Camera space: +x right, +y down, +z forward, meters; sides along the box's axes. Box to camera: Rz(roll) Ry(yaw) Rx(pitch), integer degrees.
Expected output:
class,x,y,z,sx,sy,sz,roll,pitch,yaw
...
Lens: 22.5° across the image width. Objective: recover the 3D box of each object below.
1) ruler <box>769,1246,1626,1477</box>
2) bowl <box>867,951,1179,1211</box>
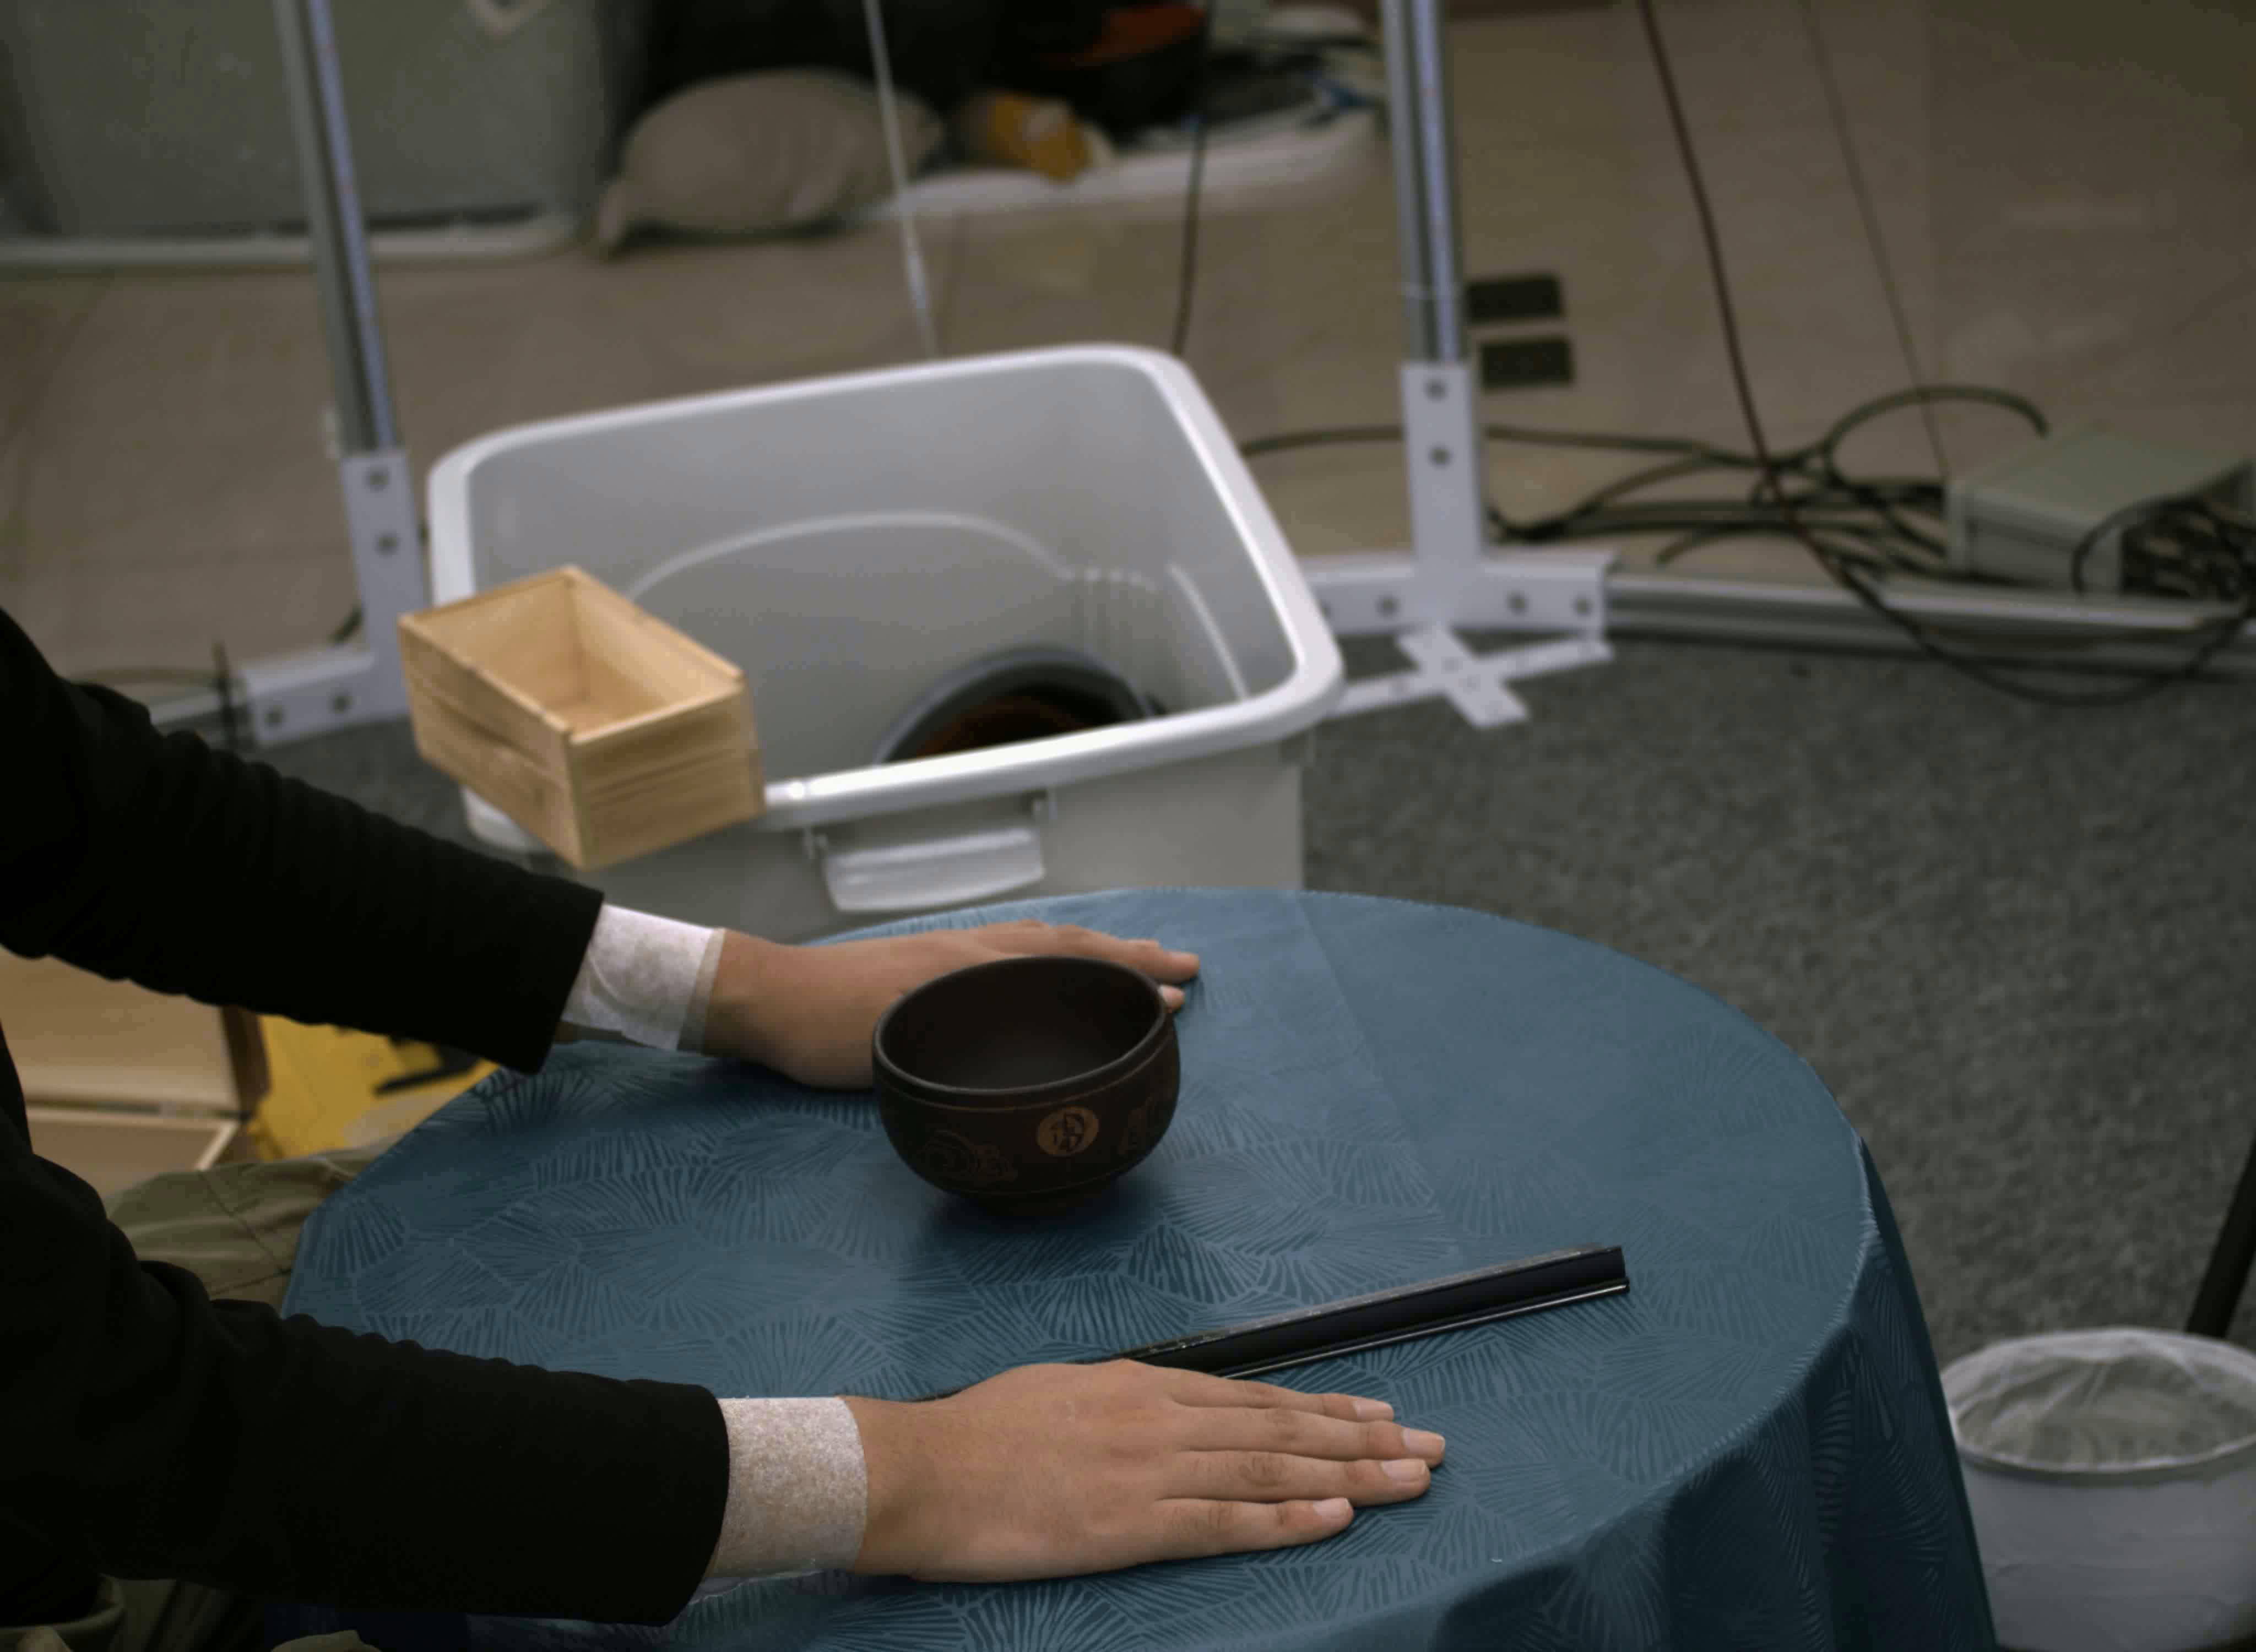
class,x,y,z,sx,sy,sz,roll,pitch,yaw
ruler,0.025,0.184,2.027,0.312,0.017,0.039,-12,21,-11
bowl,-0.038,0.103,2.147,0.118,0.071,0.116,-5,24,2
